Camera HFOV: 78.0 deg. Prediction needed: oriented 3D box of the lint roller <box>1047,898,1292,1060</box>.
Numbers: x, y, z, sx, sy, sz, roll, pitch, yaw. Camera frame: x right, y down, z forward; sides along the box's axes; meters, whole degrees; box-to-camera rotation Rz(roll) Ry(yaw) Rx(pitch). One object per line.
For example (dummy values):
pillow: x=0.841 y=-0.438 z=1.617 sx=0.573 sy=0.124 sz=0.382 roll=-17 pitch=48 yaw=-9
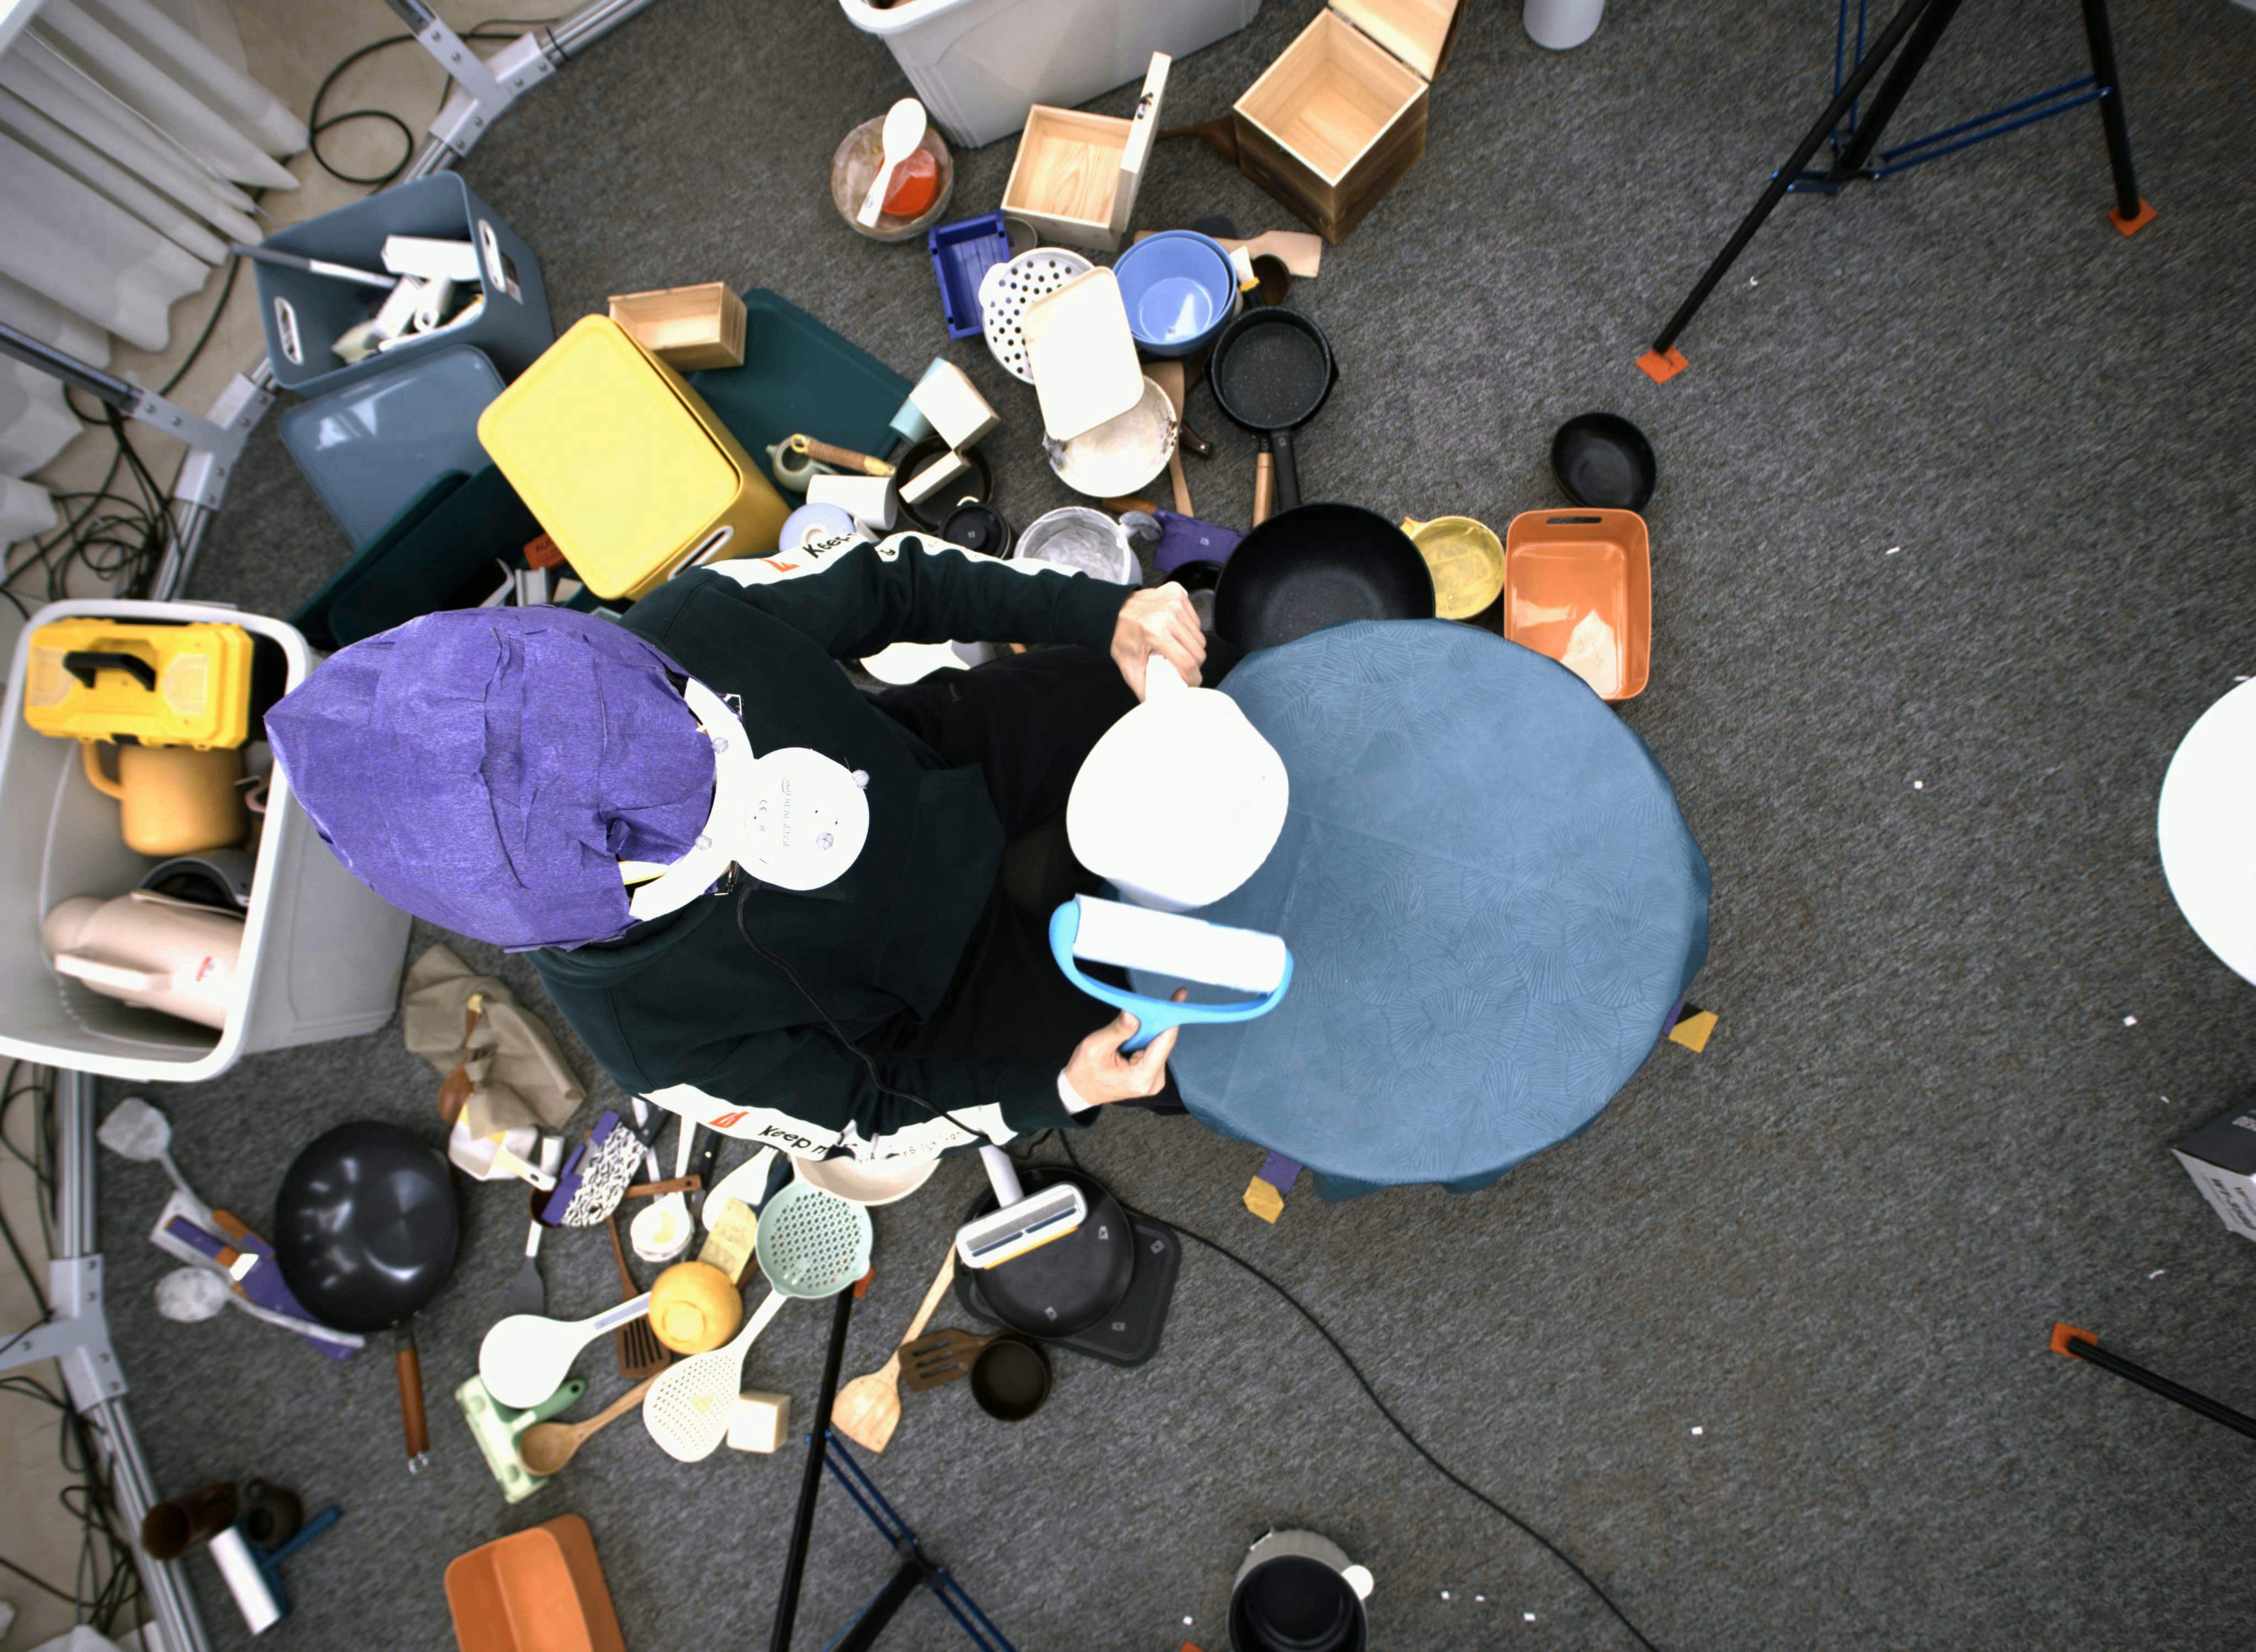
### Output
lint roller: x=0.022 y=0.157 z=1.243 sx=0.229 sy=0.066 sz=0.184 roll=9 pitch=121 yaw=-19

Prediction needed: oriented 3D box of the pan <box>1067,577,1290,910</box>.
pan: x=0.054 y=-0.082 z=1.317 sx=0.204 sy=0.103 sz=0.345 roll=-23 pitch=47 yaw=31
